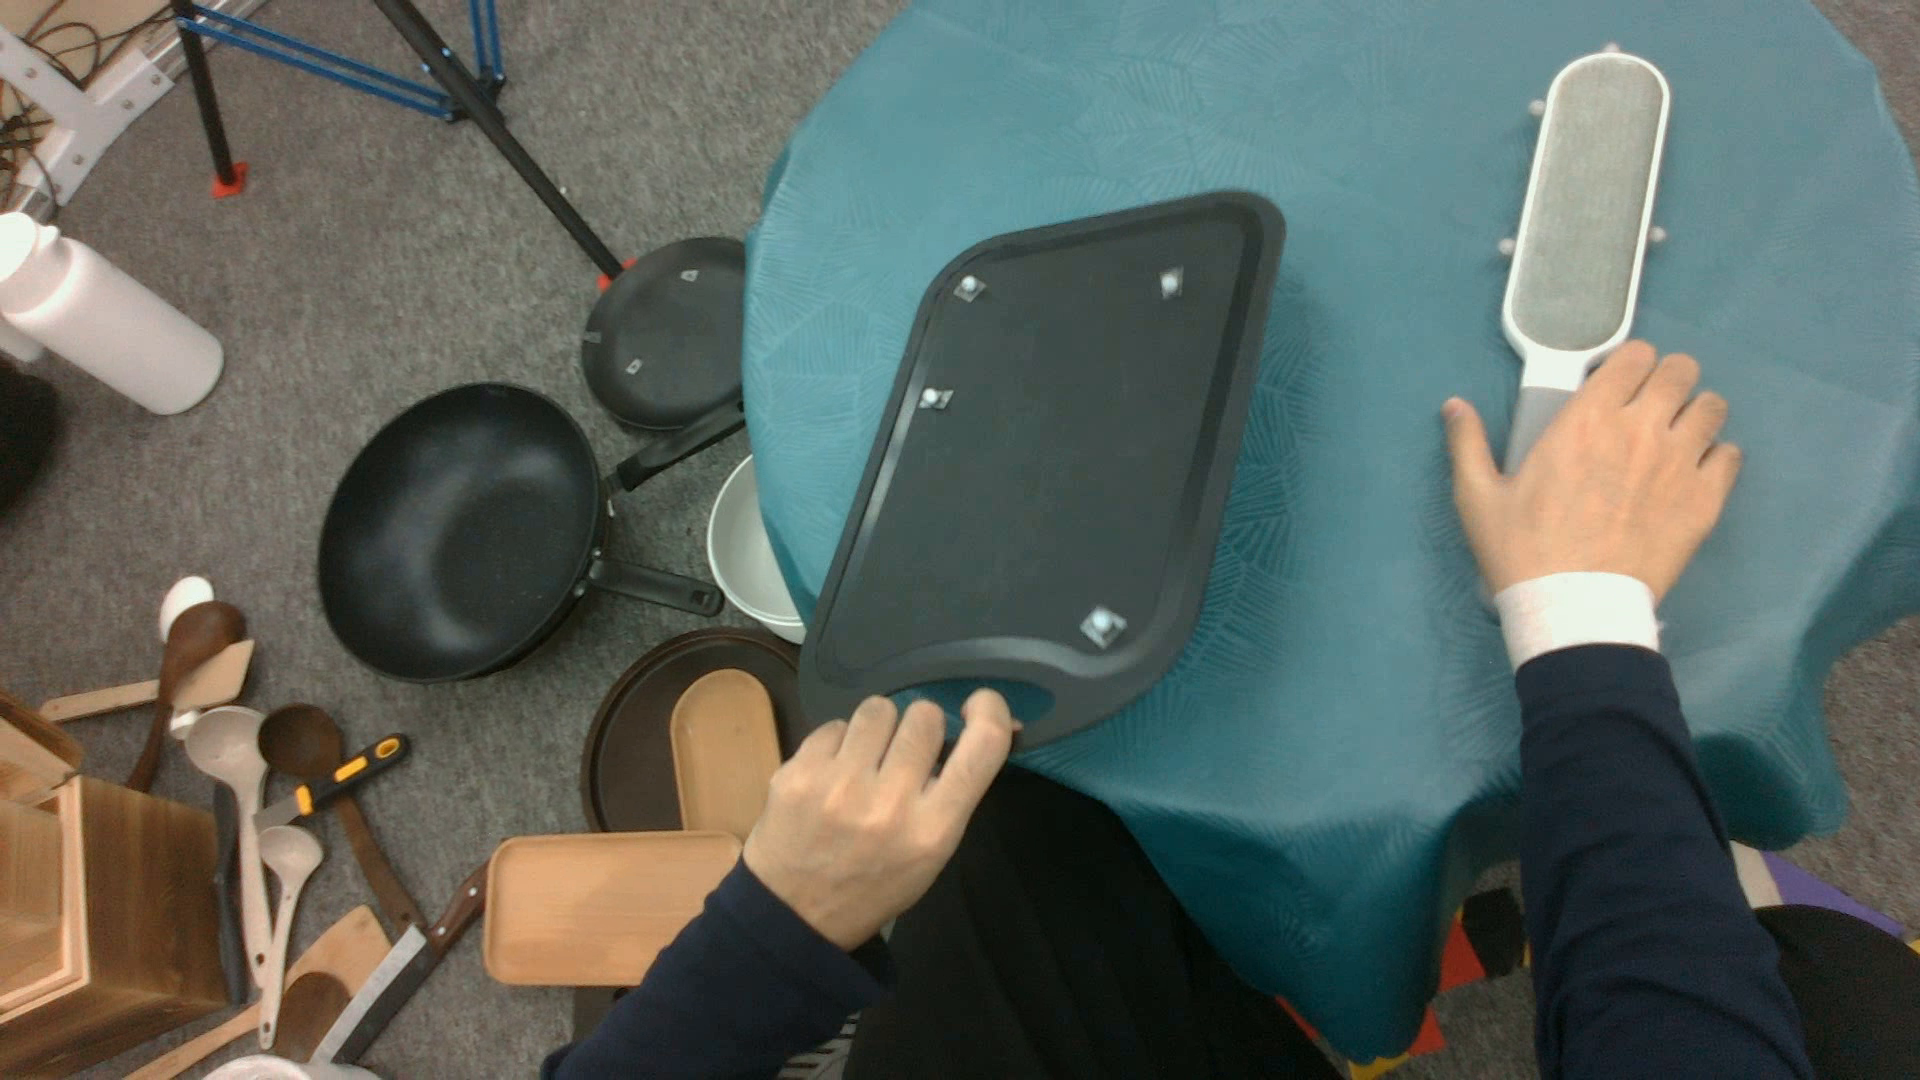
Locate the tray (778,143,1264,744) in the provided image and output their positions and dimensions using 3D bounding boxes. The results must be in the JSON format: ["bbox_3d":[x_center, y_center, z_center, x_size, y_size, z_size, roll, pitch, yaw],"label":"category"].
[{"bbox_3d":[0.025,-0.053,0.634,0.210,0.010,0.327,-8,51,38],"label":"tray"}]

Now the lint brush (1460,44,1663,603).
[{"bbox_3d":[0.280,-0.112,0.654,0.060,0.021,0.310,15,71,15],"label":"lint brush"}]
